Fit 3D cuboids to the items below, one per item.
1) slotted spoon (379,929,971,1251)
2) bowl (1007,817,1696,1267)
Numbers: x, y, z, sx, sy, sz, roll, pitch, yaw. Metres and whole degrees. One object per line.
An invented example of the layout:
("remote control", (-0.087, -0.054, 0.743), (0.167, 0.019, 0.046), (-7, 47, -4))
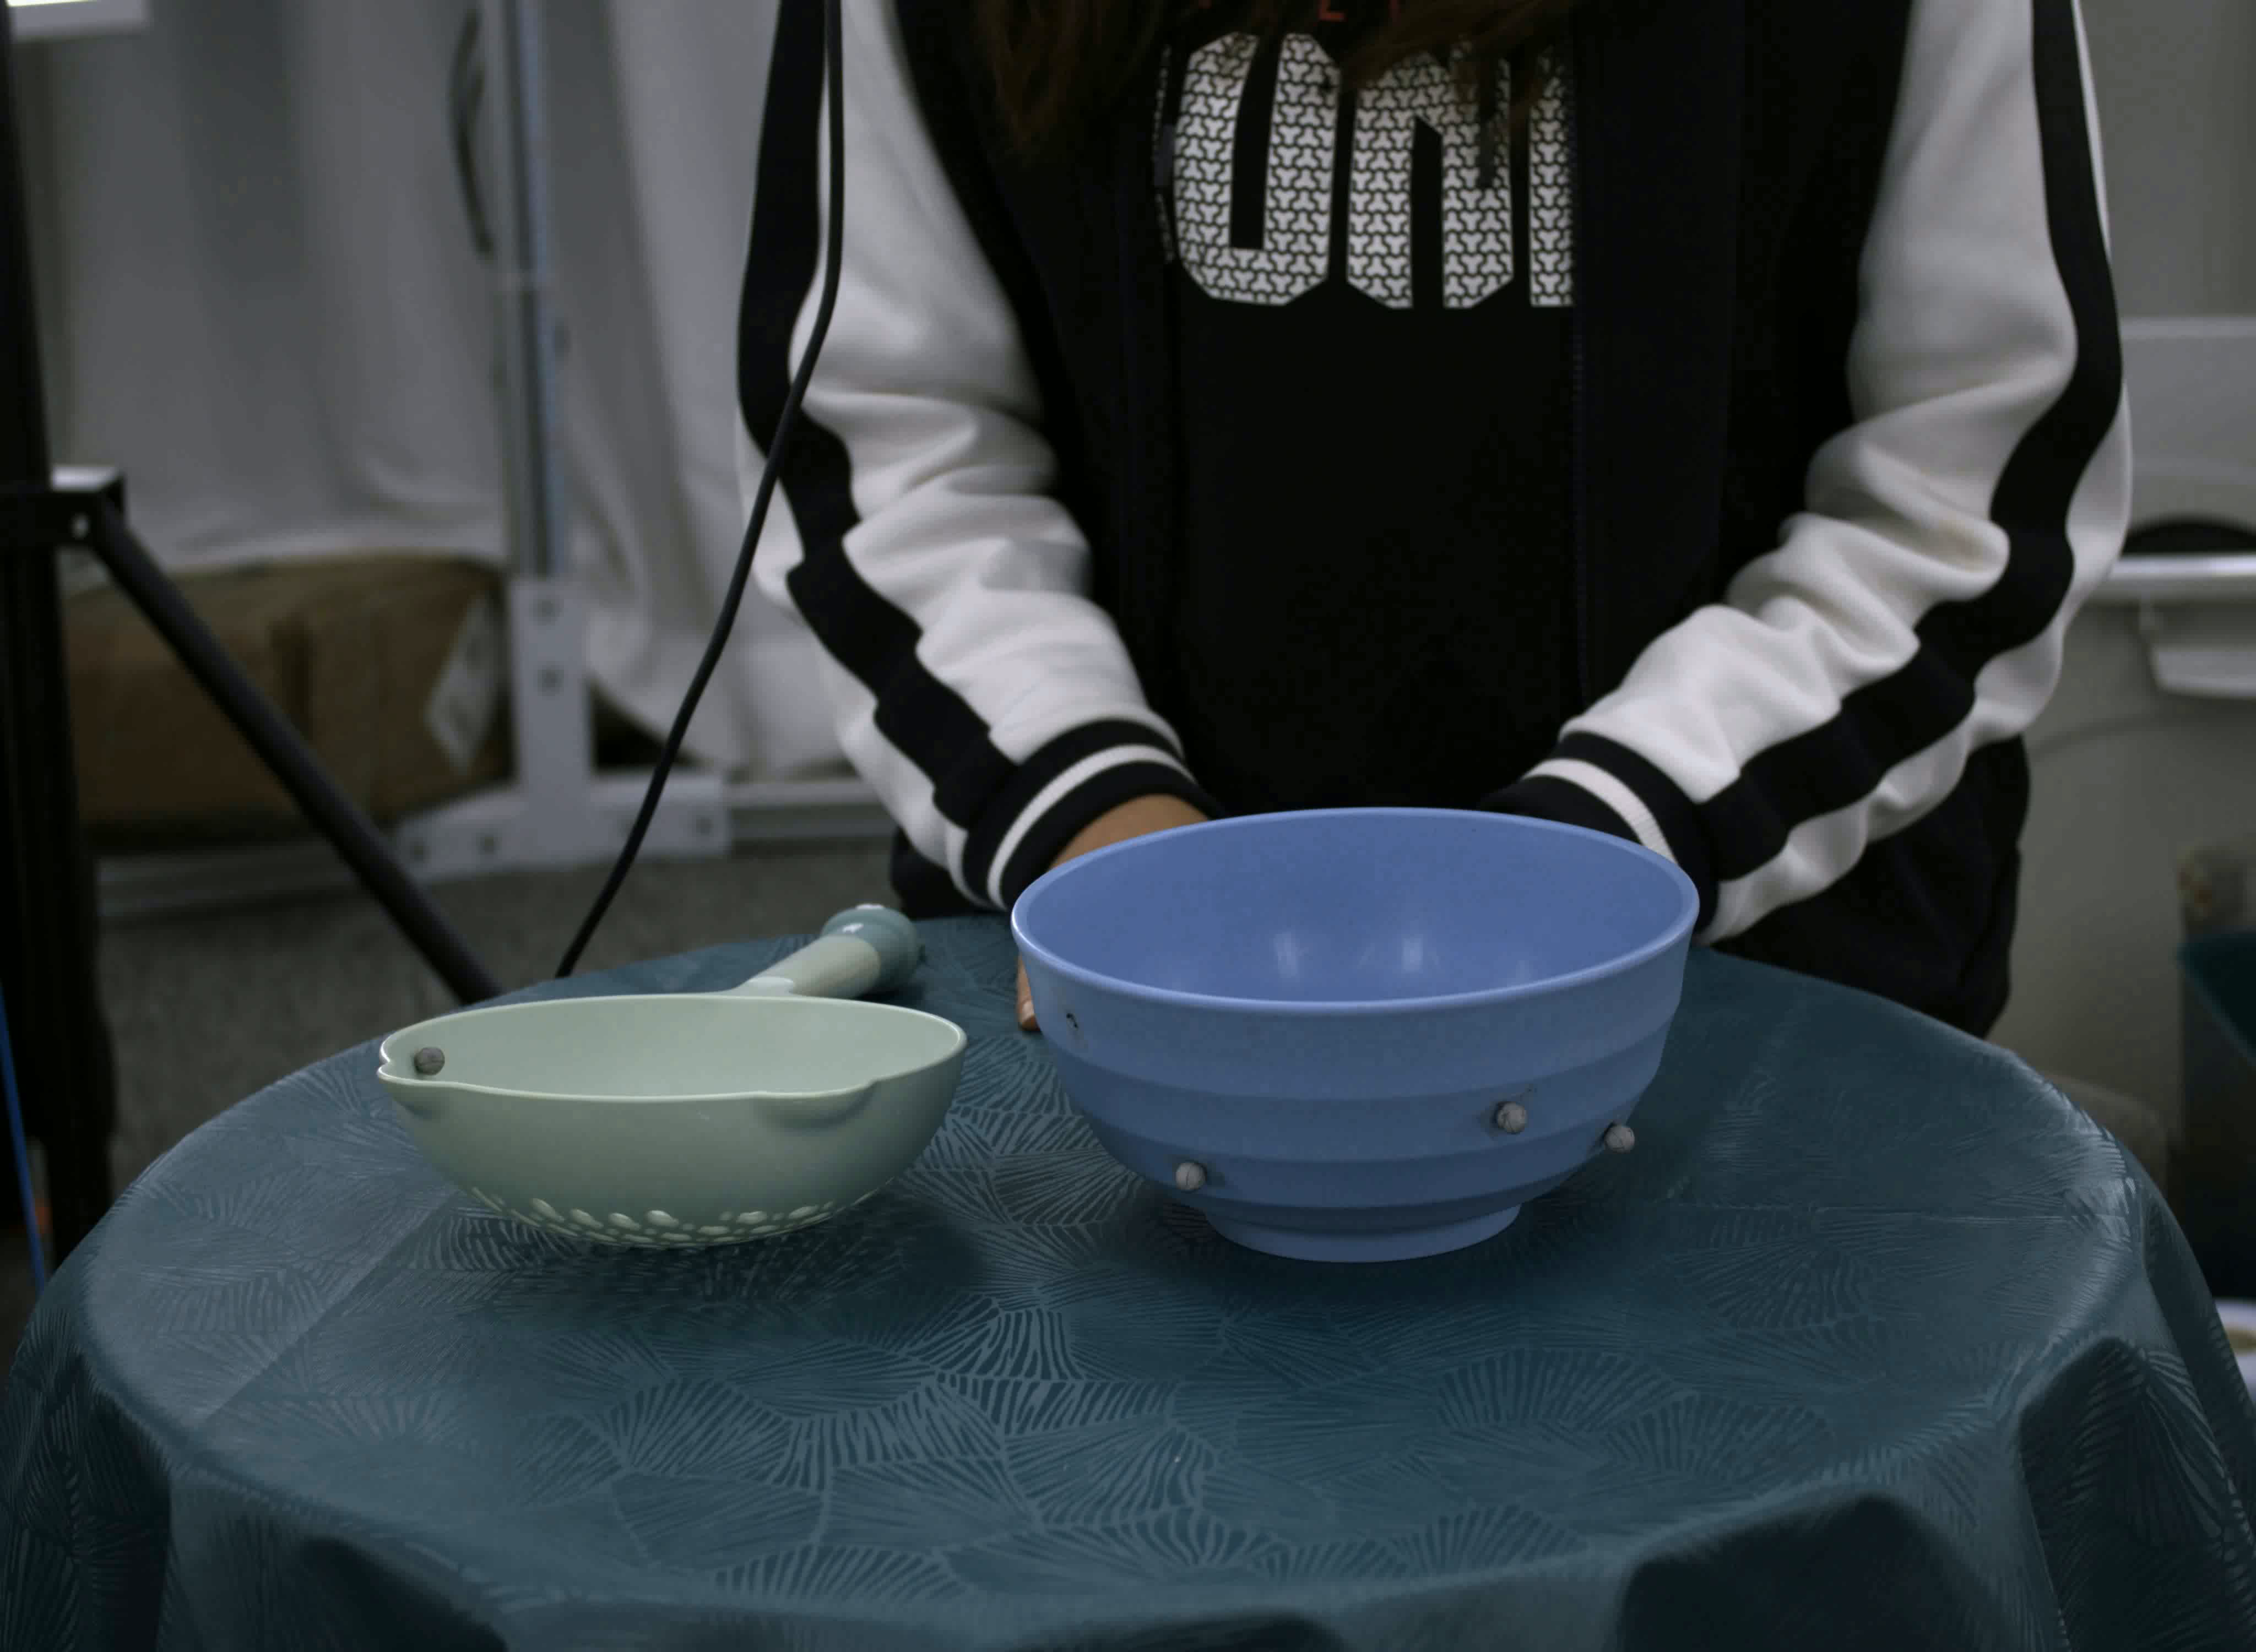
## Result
("slotted spoon", (-0.110, 0.065, 1.625), (0.170, 0.075, 0.356), (2, 15, 12))
("bowl", (0.065, 0.067, 1.521), (0.195, 0.095, 0.197), (-3, 15, -1))
